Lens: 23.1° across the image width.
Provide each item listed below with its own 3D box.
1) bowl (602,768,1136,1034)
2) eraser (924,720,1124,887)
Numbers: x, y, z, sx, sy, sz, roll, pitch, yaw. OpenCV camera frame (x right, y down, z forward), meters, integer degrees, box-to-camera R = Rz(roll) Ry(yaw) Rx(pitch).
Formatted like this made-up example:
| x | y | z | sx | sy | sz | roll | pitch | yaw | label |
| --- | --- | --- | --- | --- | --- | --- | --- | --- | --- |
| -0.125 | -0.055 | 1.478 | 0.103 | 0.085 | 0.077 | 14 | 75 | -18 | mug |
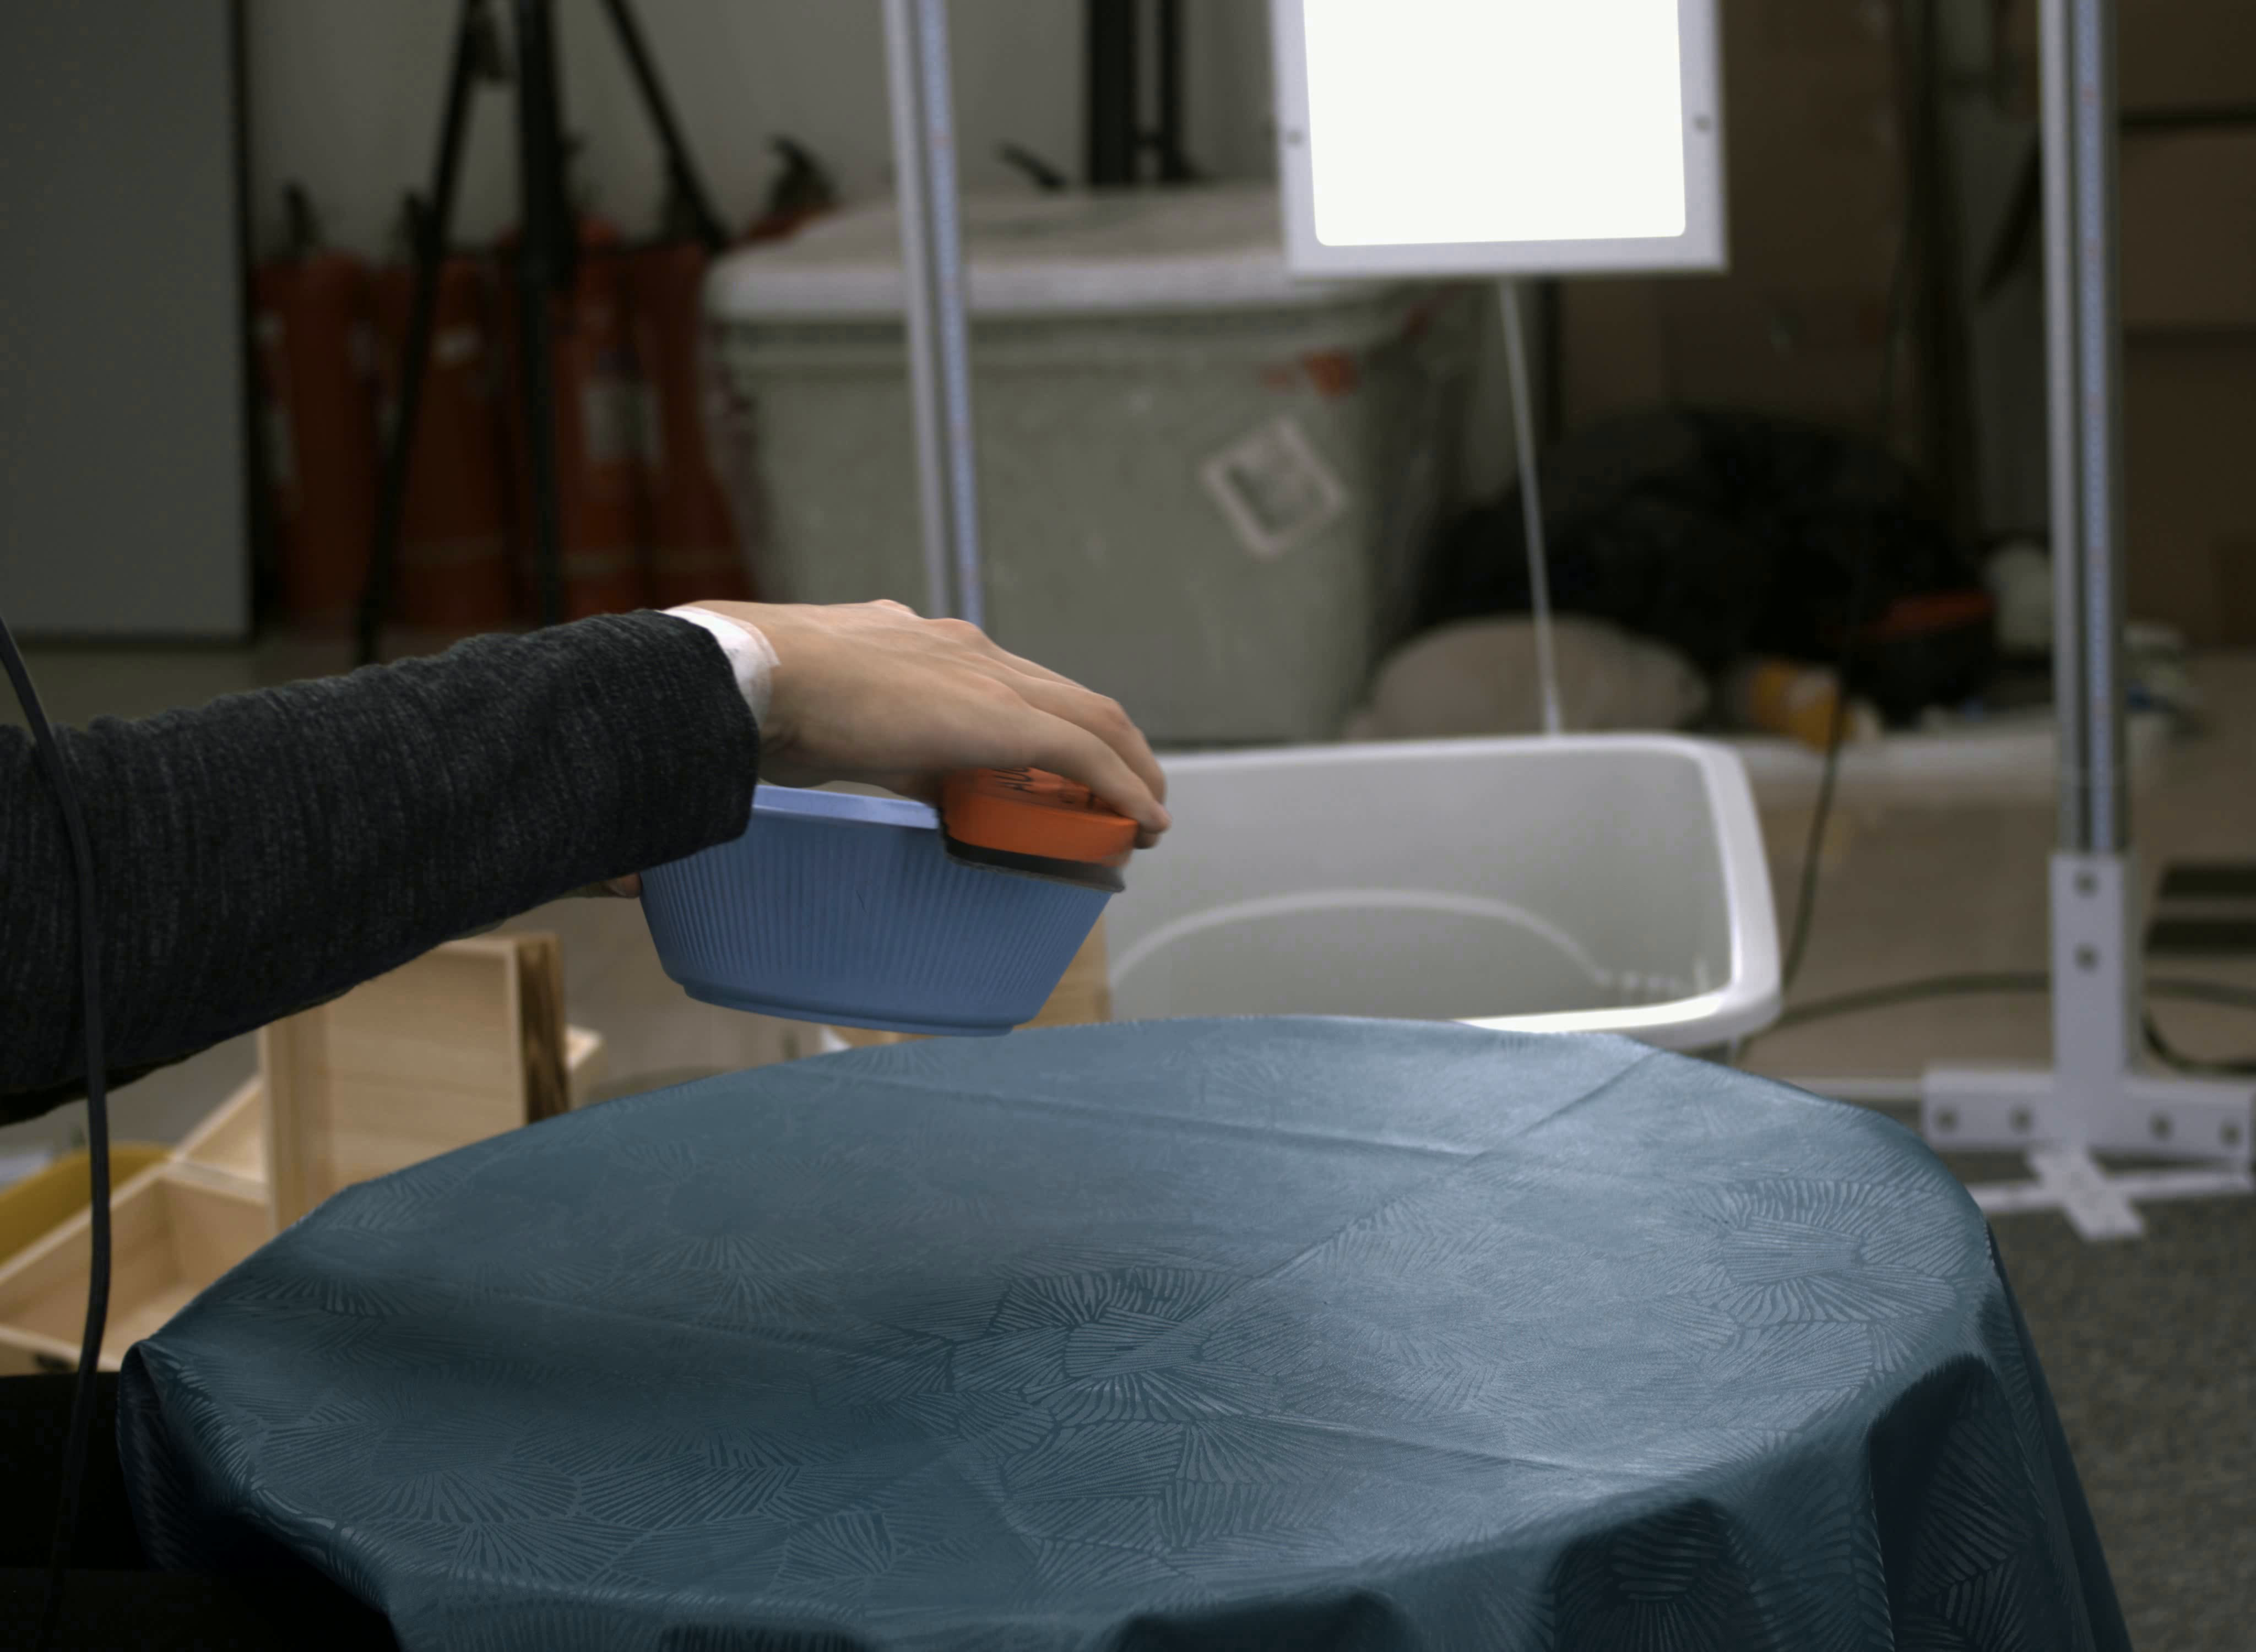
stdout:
| x | y | z | sx | sy | sz | roll | pitch | yaw | label |
| --- | --- | --- | --- | --- | --- | --- | --- | --- | --- |
| -0.088 | 0.026 | 1.792 | 0.175 | 0.070 | 0.176 | 8 | 2 | -2 | bowl |
| -0.033 | -0.008 | 1.718 | 0.058 | 0.023 | 0.108 | 11 | 13 | -6 | eraser |
